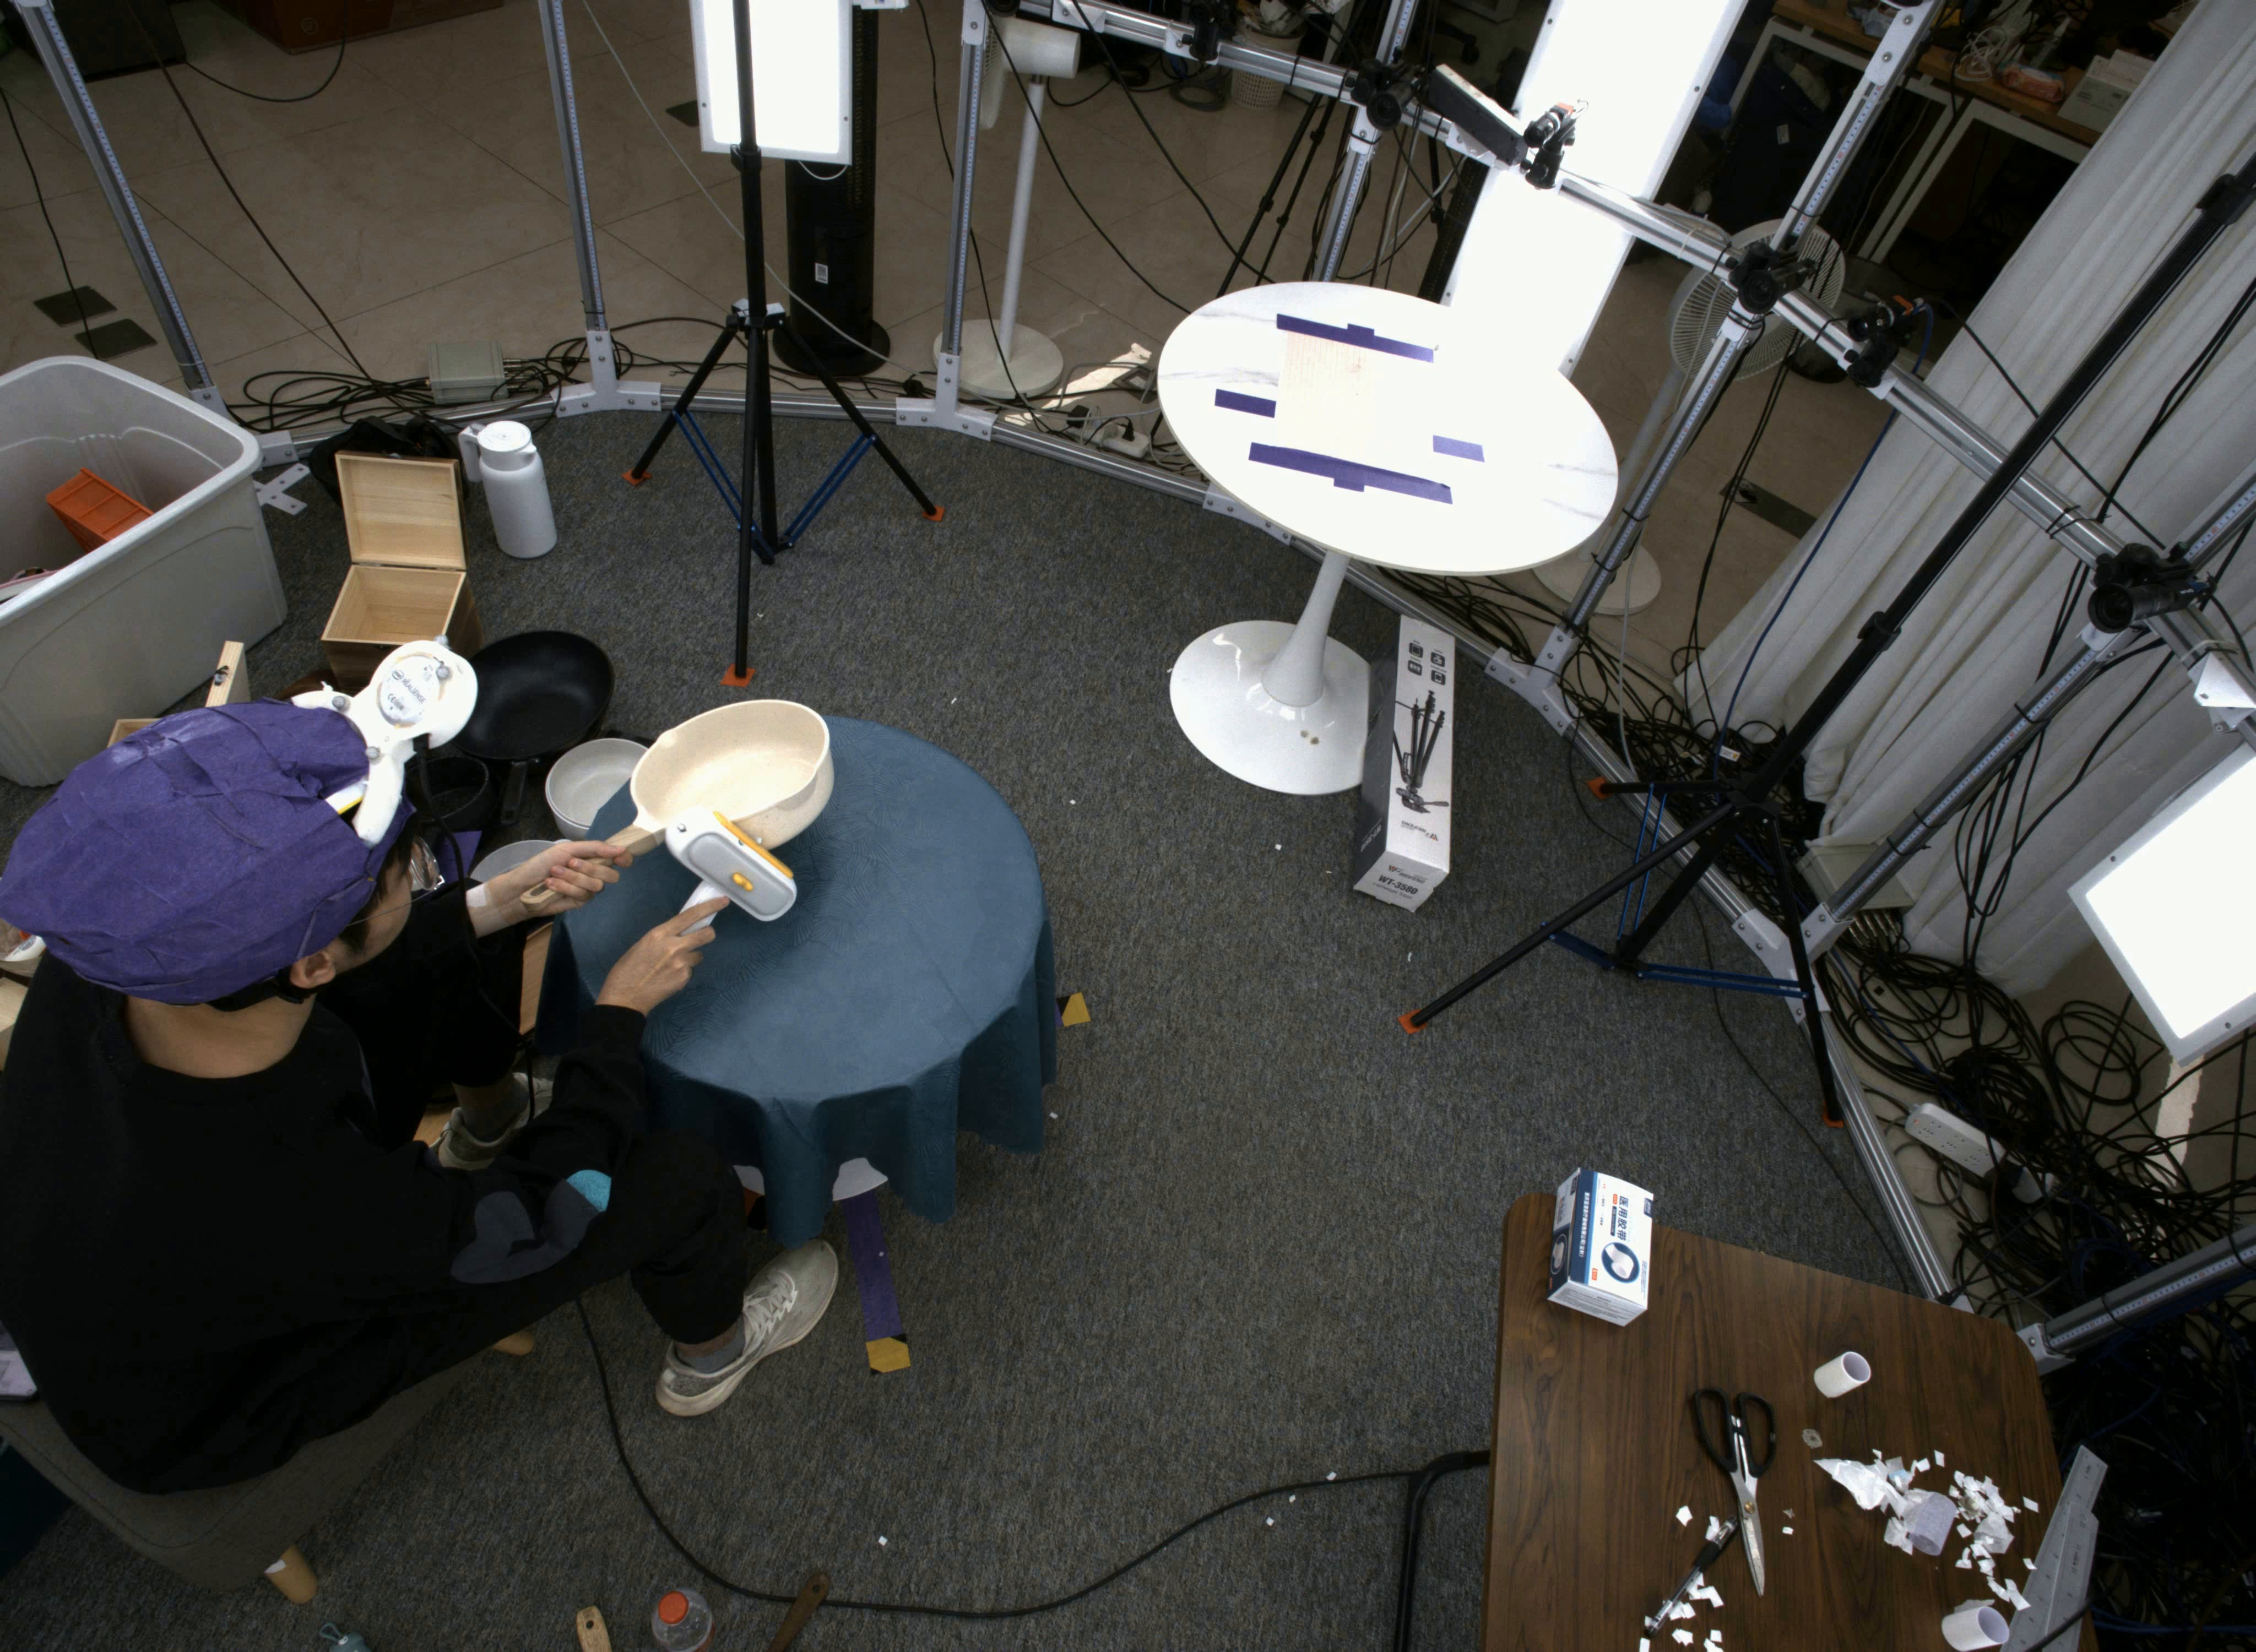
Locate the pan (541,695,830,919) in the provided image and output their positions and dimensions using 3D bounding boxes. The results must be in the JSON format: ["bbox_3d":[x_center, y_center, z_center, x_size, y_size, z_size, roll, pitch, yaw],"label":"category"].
[{"bbox_3d":[-0.543,-0.007,1.565,0.255,0.105,0.434,21,48,25],"label":"pan"}]

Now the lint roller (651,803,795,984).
[{"bbox_3d":[-0.500,0.091,1.510,0.071,0.200,0.193,35,83,35],"label":"lint roller"}]
